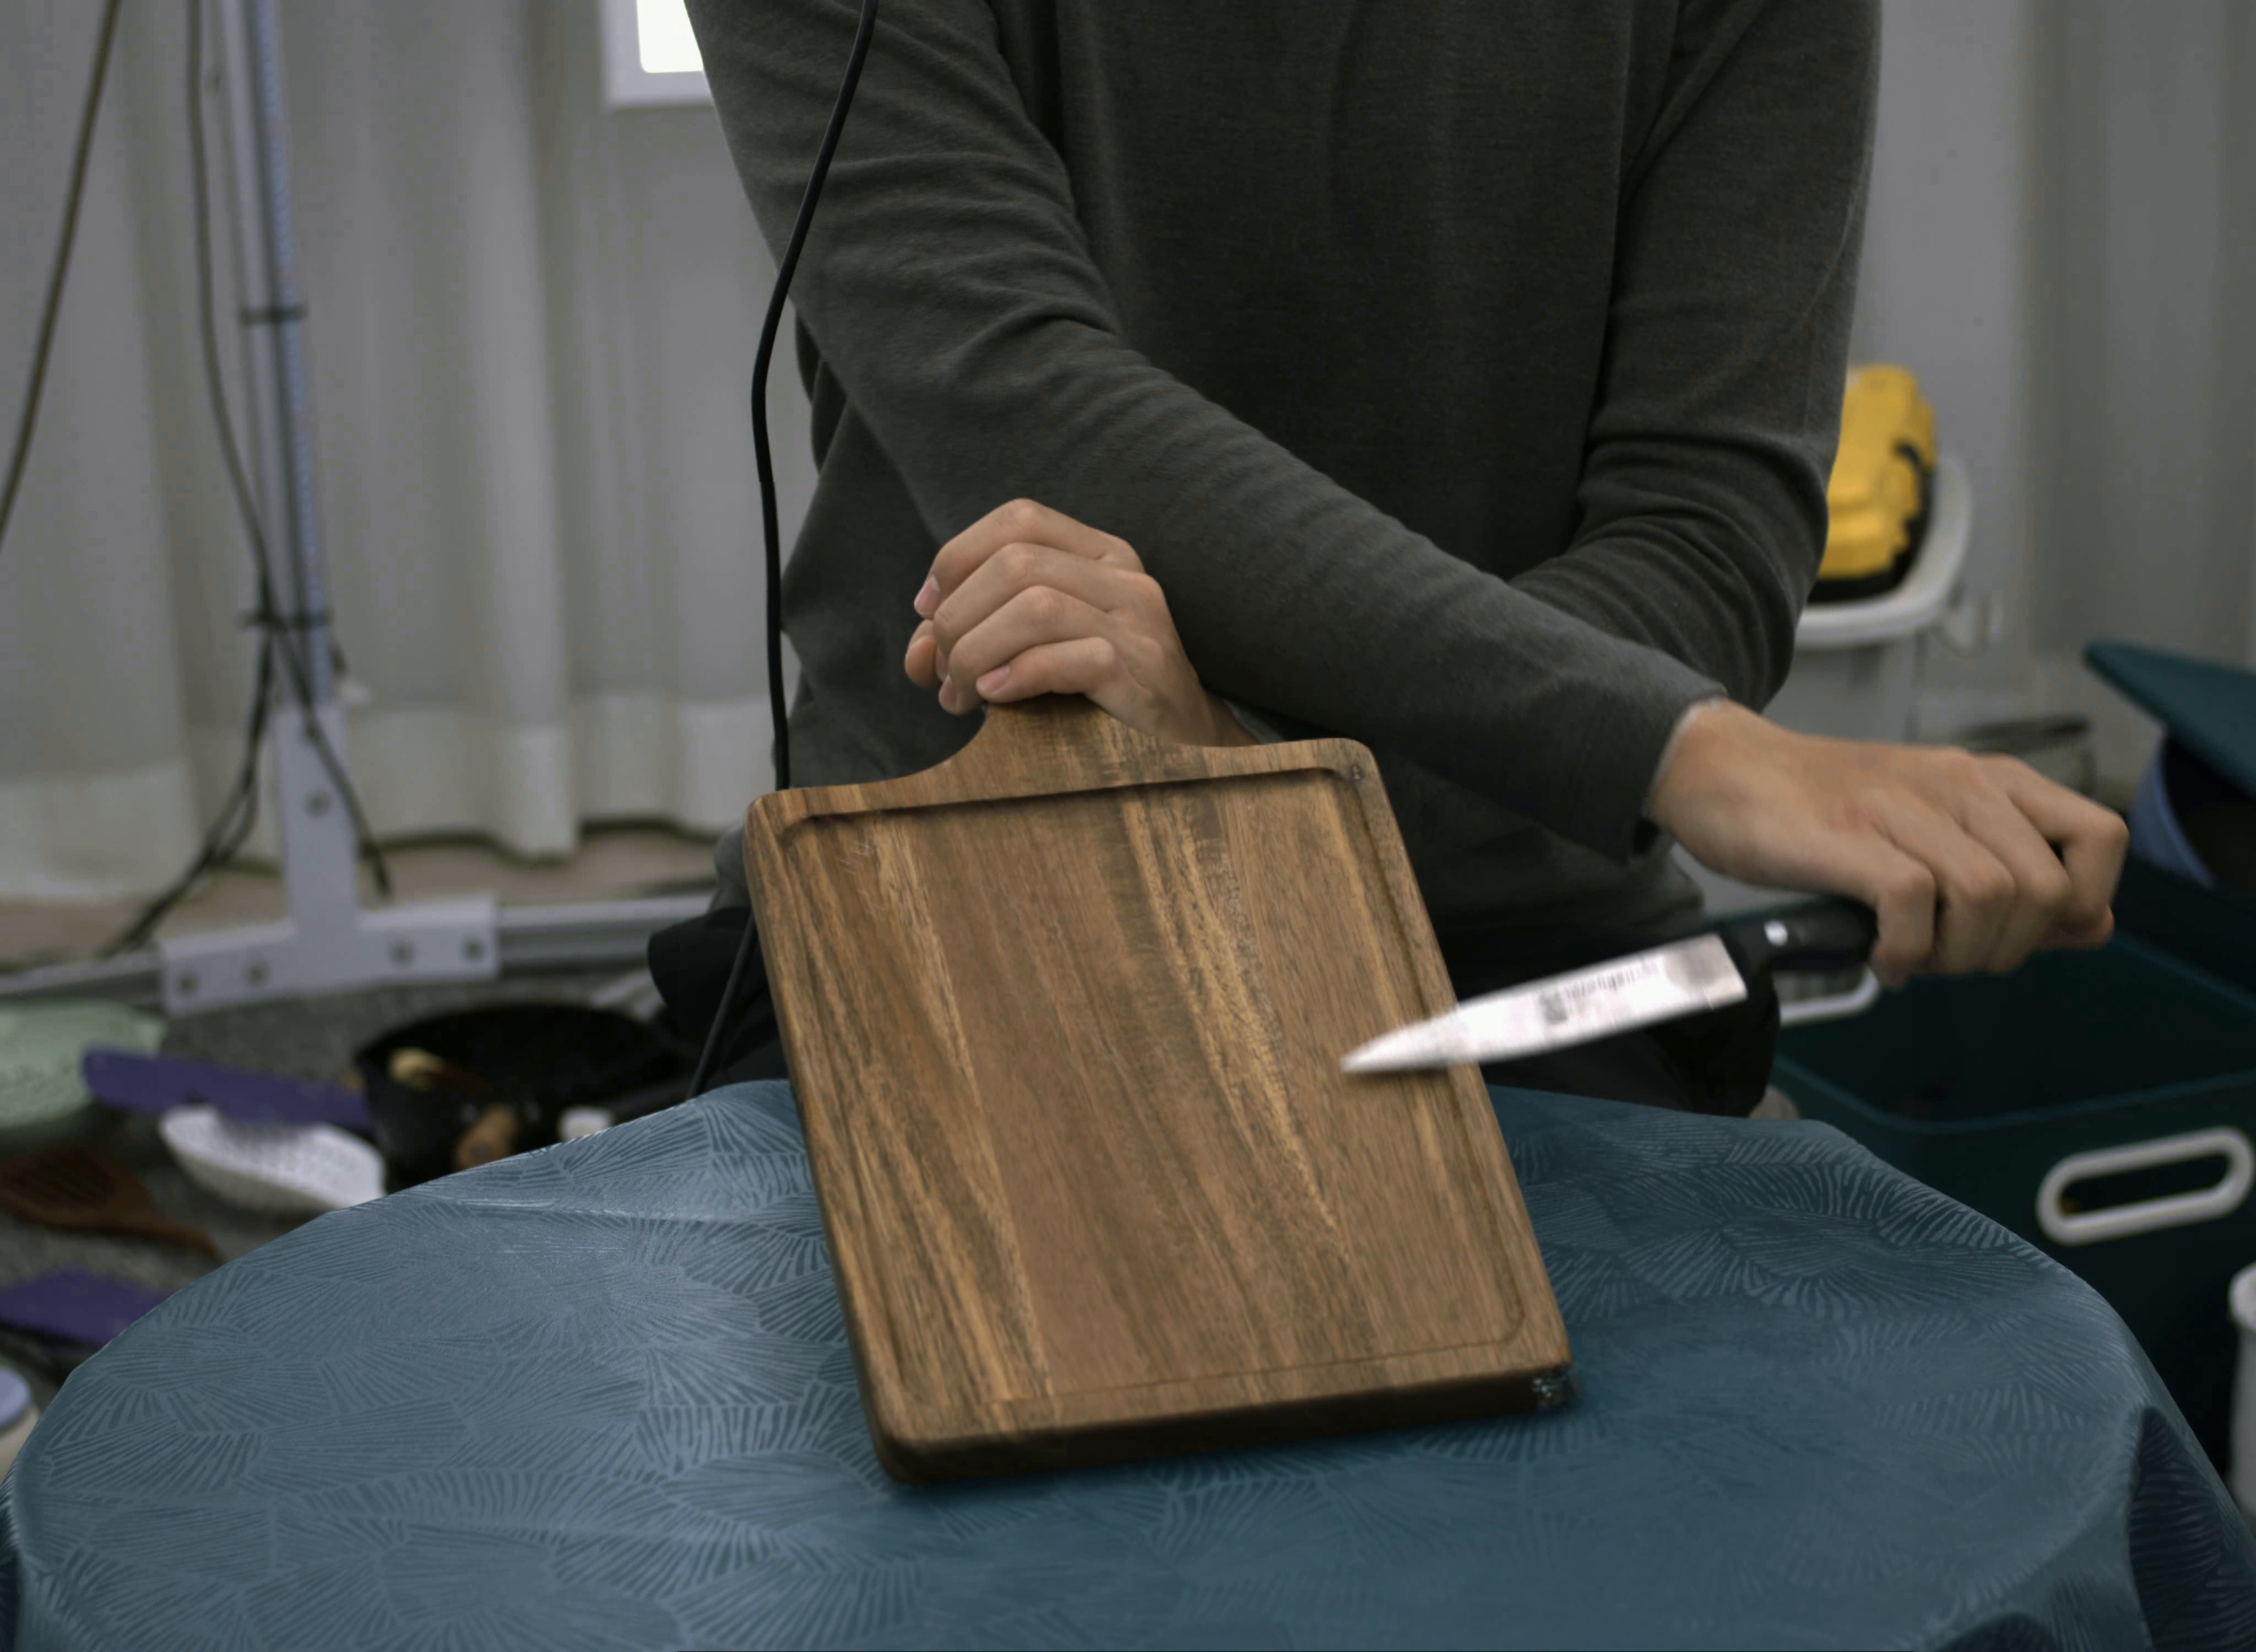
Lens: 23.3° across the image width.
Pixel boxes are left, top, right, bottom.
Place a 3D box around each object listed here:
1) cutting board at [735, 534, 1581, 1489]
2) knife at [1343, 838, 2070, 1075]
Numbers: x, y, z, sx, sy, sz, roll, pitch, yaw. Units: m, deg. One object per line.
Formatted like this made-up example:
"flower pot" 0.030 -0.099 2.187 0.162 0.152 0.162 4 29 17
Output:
"cutting board" -0.006 0.040 1.612 0.200 0.023 0.358 -6 46 -11
"knife" 0.170 0.039 1.612 0.237 0.016 0.025 -15 50 -17
